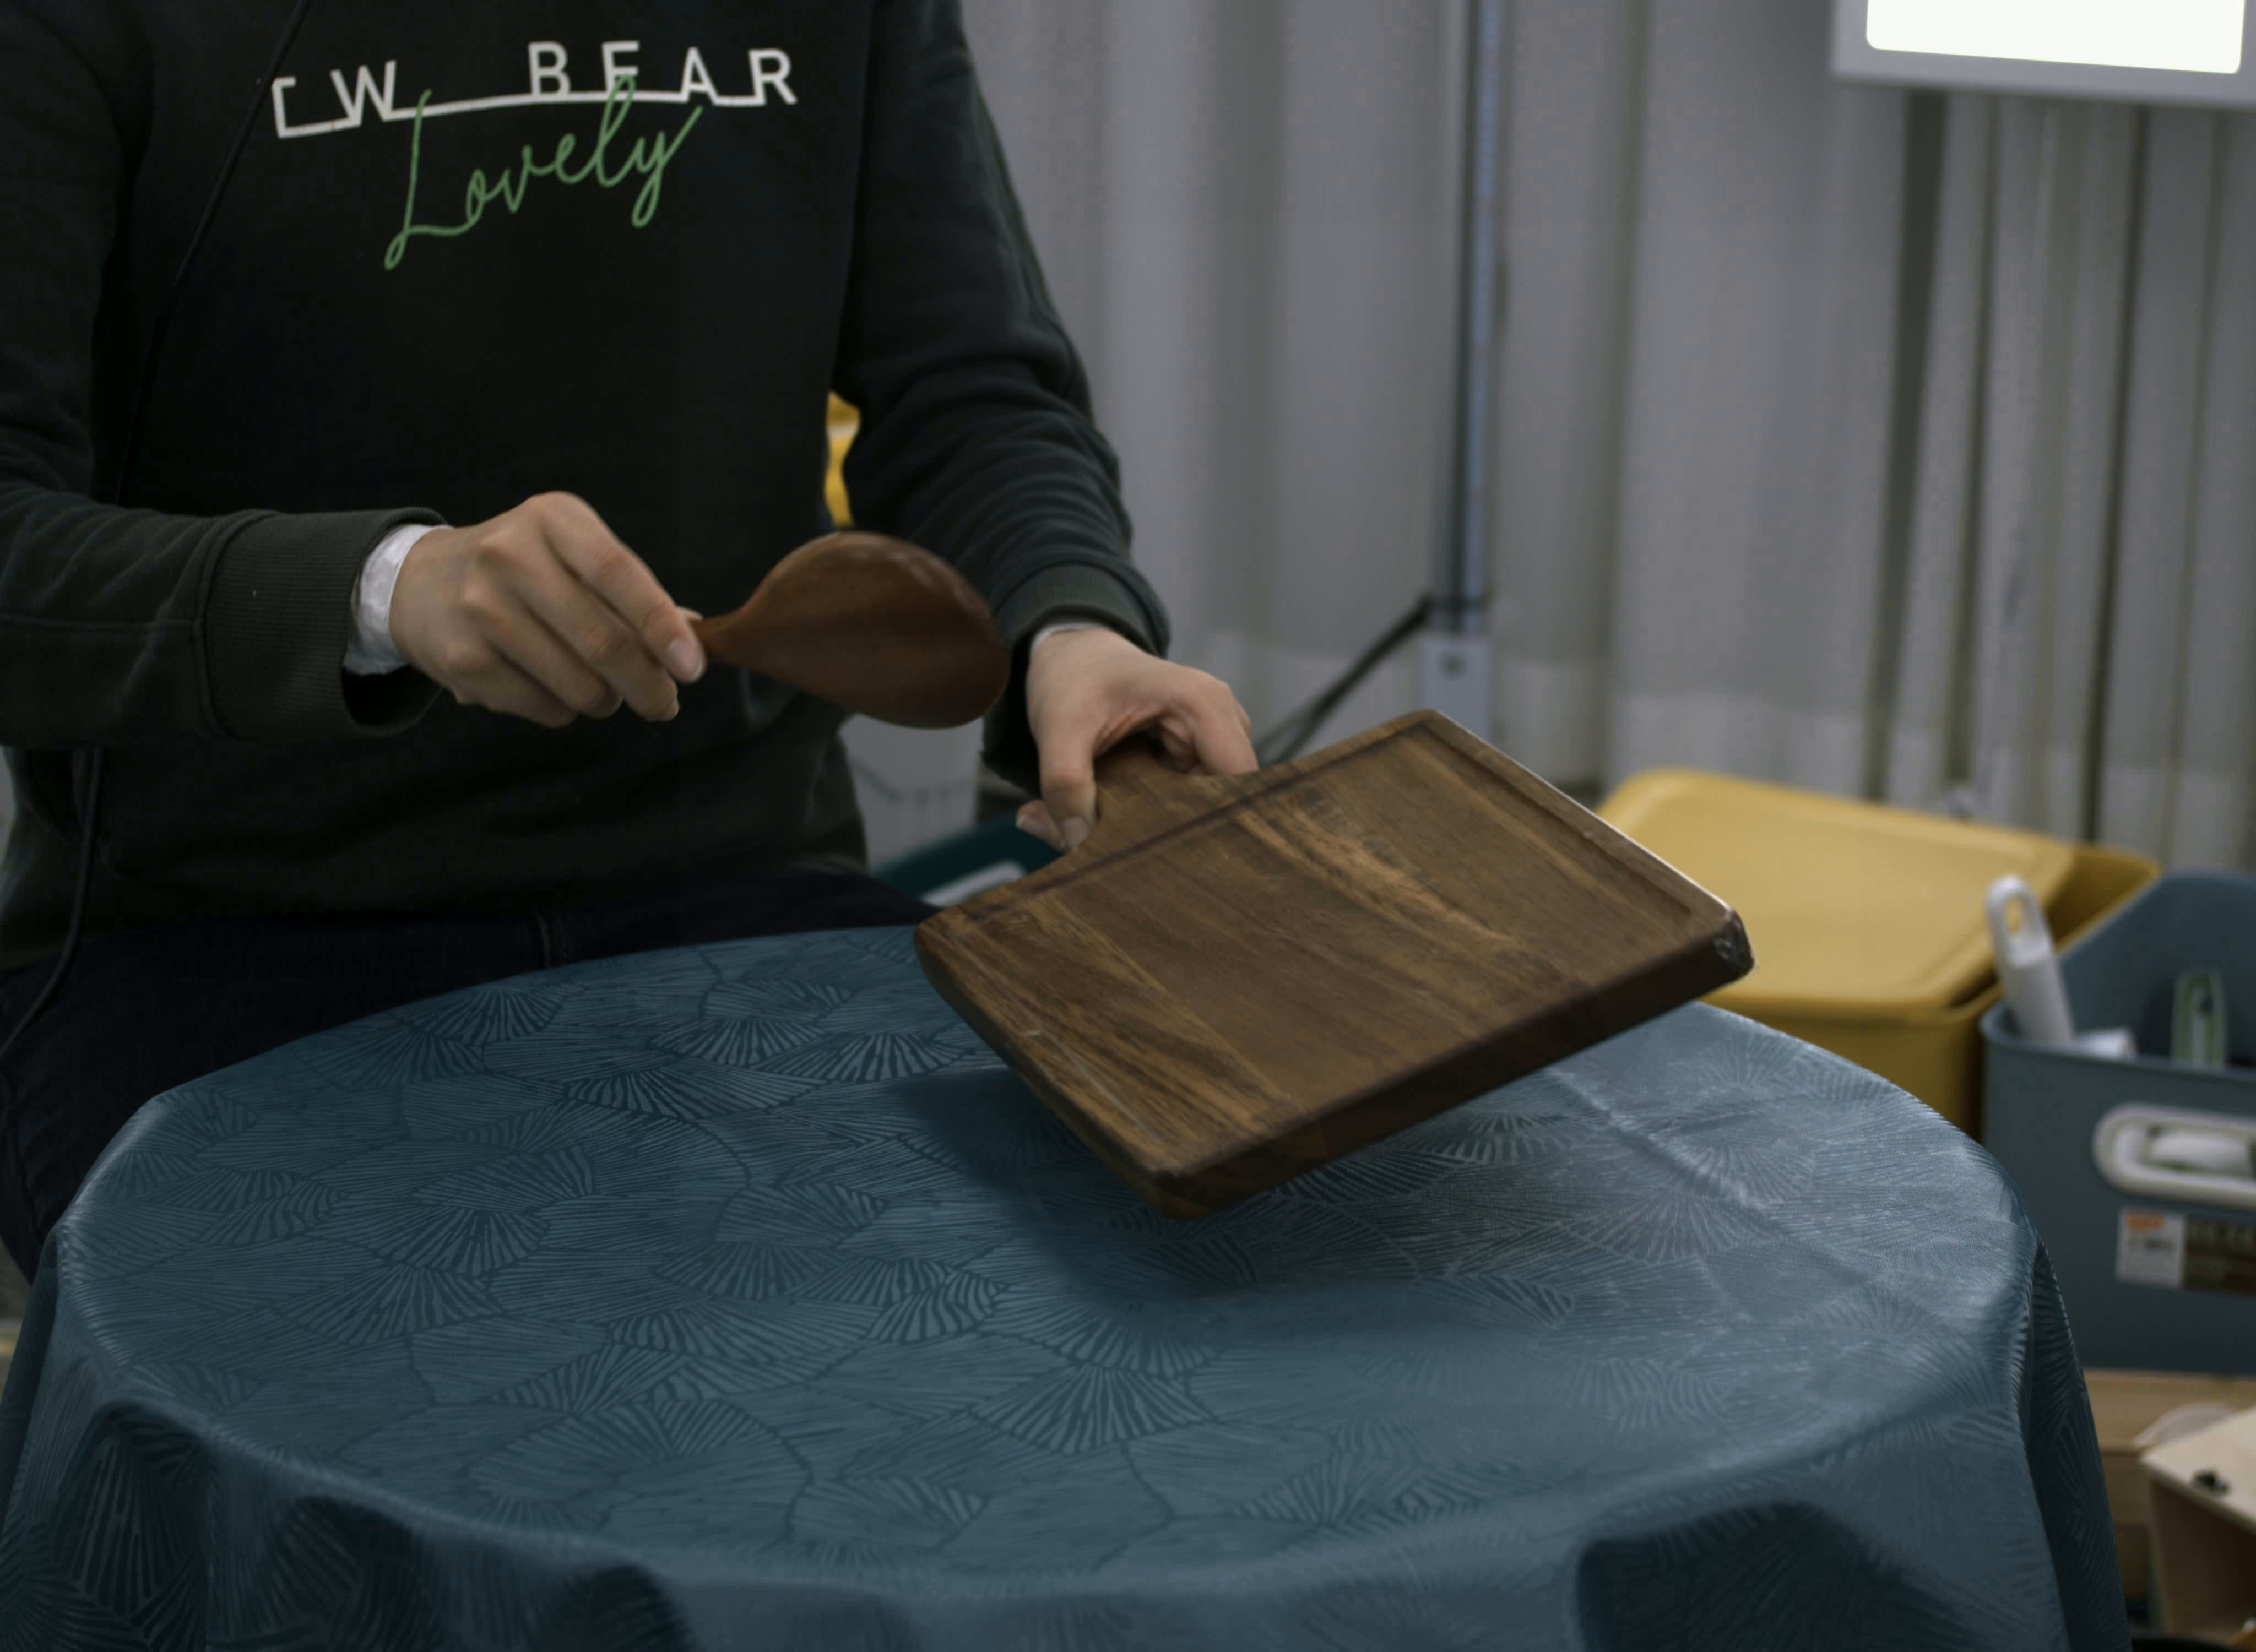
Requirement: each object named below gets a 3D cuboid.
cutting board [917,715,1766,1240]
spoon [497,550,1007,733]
[{"bbox_3d":[0.044,0.027,1.685,0.201,0.023,0.348,-23,23,-12],"label":"cutting board"},{"bbox_3d":[-0.123,-0.055,1.649,0.213,0.076,0.017,2,47,42],"label":"spoon"}]
